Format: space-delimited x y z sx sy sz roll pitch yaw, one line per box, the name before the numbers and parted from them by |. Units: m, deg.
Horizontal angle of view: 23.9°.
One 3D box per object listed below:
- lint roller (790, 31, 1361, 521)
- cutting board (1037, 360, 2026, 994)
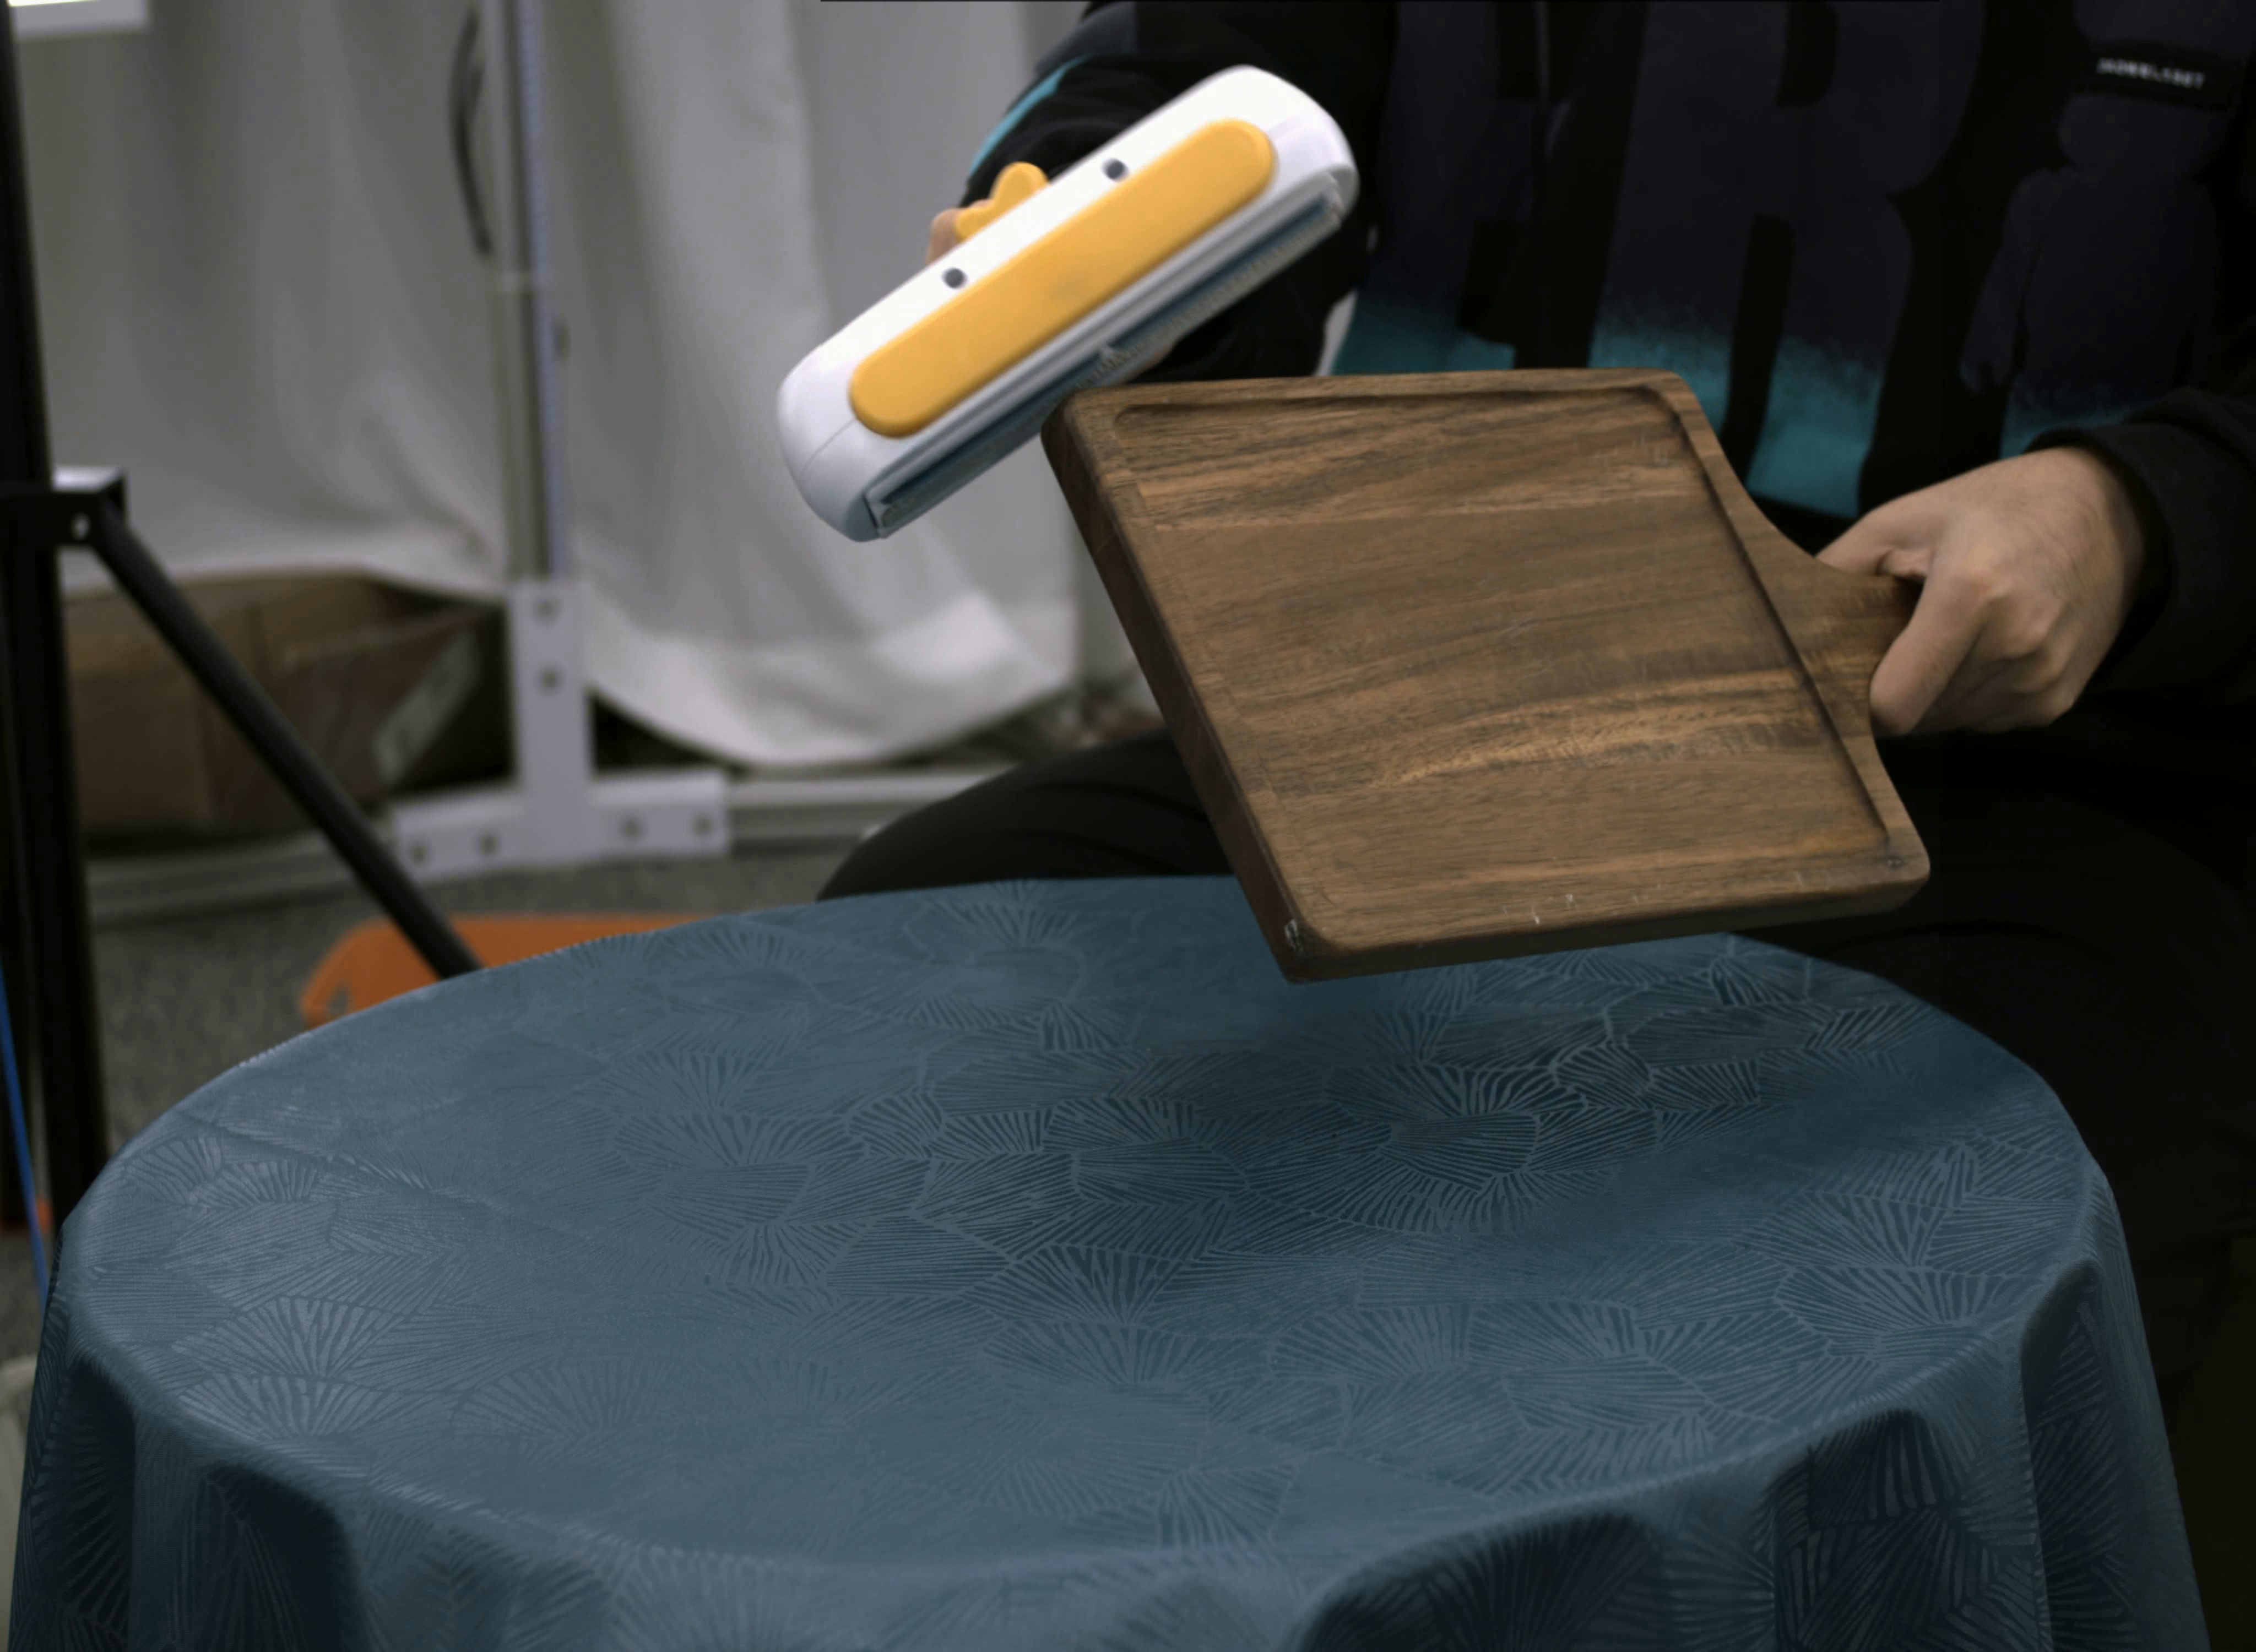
lint roller | -0.024 -0.158 1.642 0.192 0.074 0.192 -40 -6 -8
cutting board | 0.148 -0.053 1.613 0.343 0.204 0.023 -5 -30 -37
